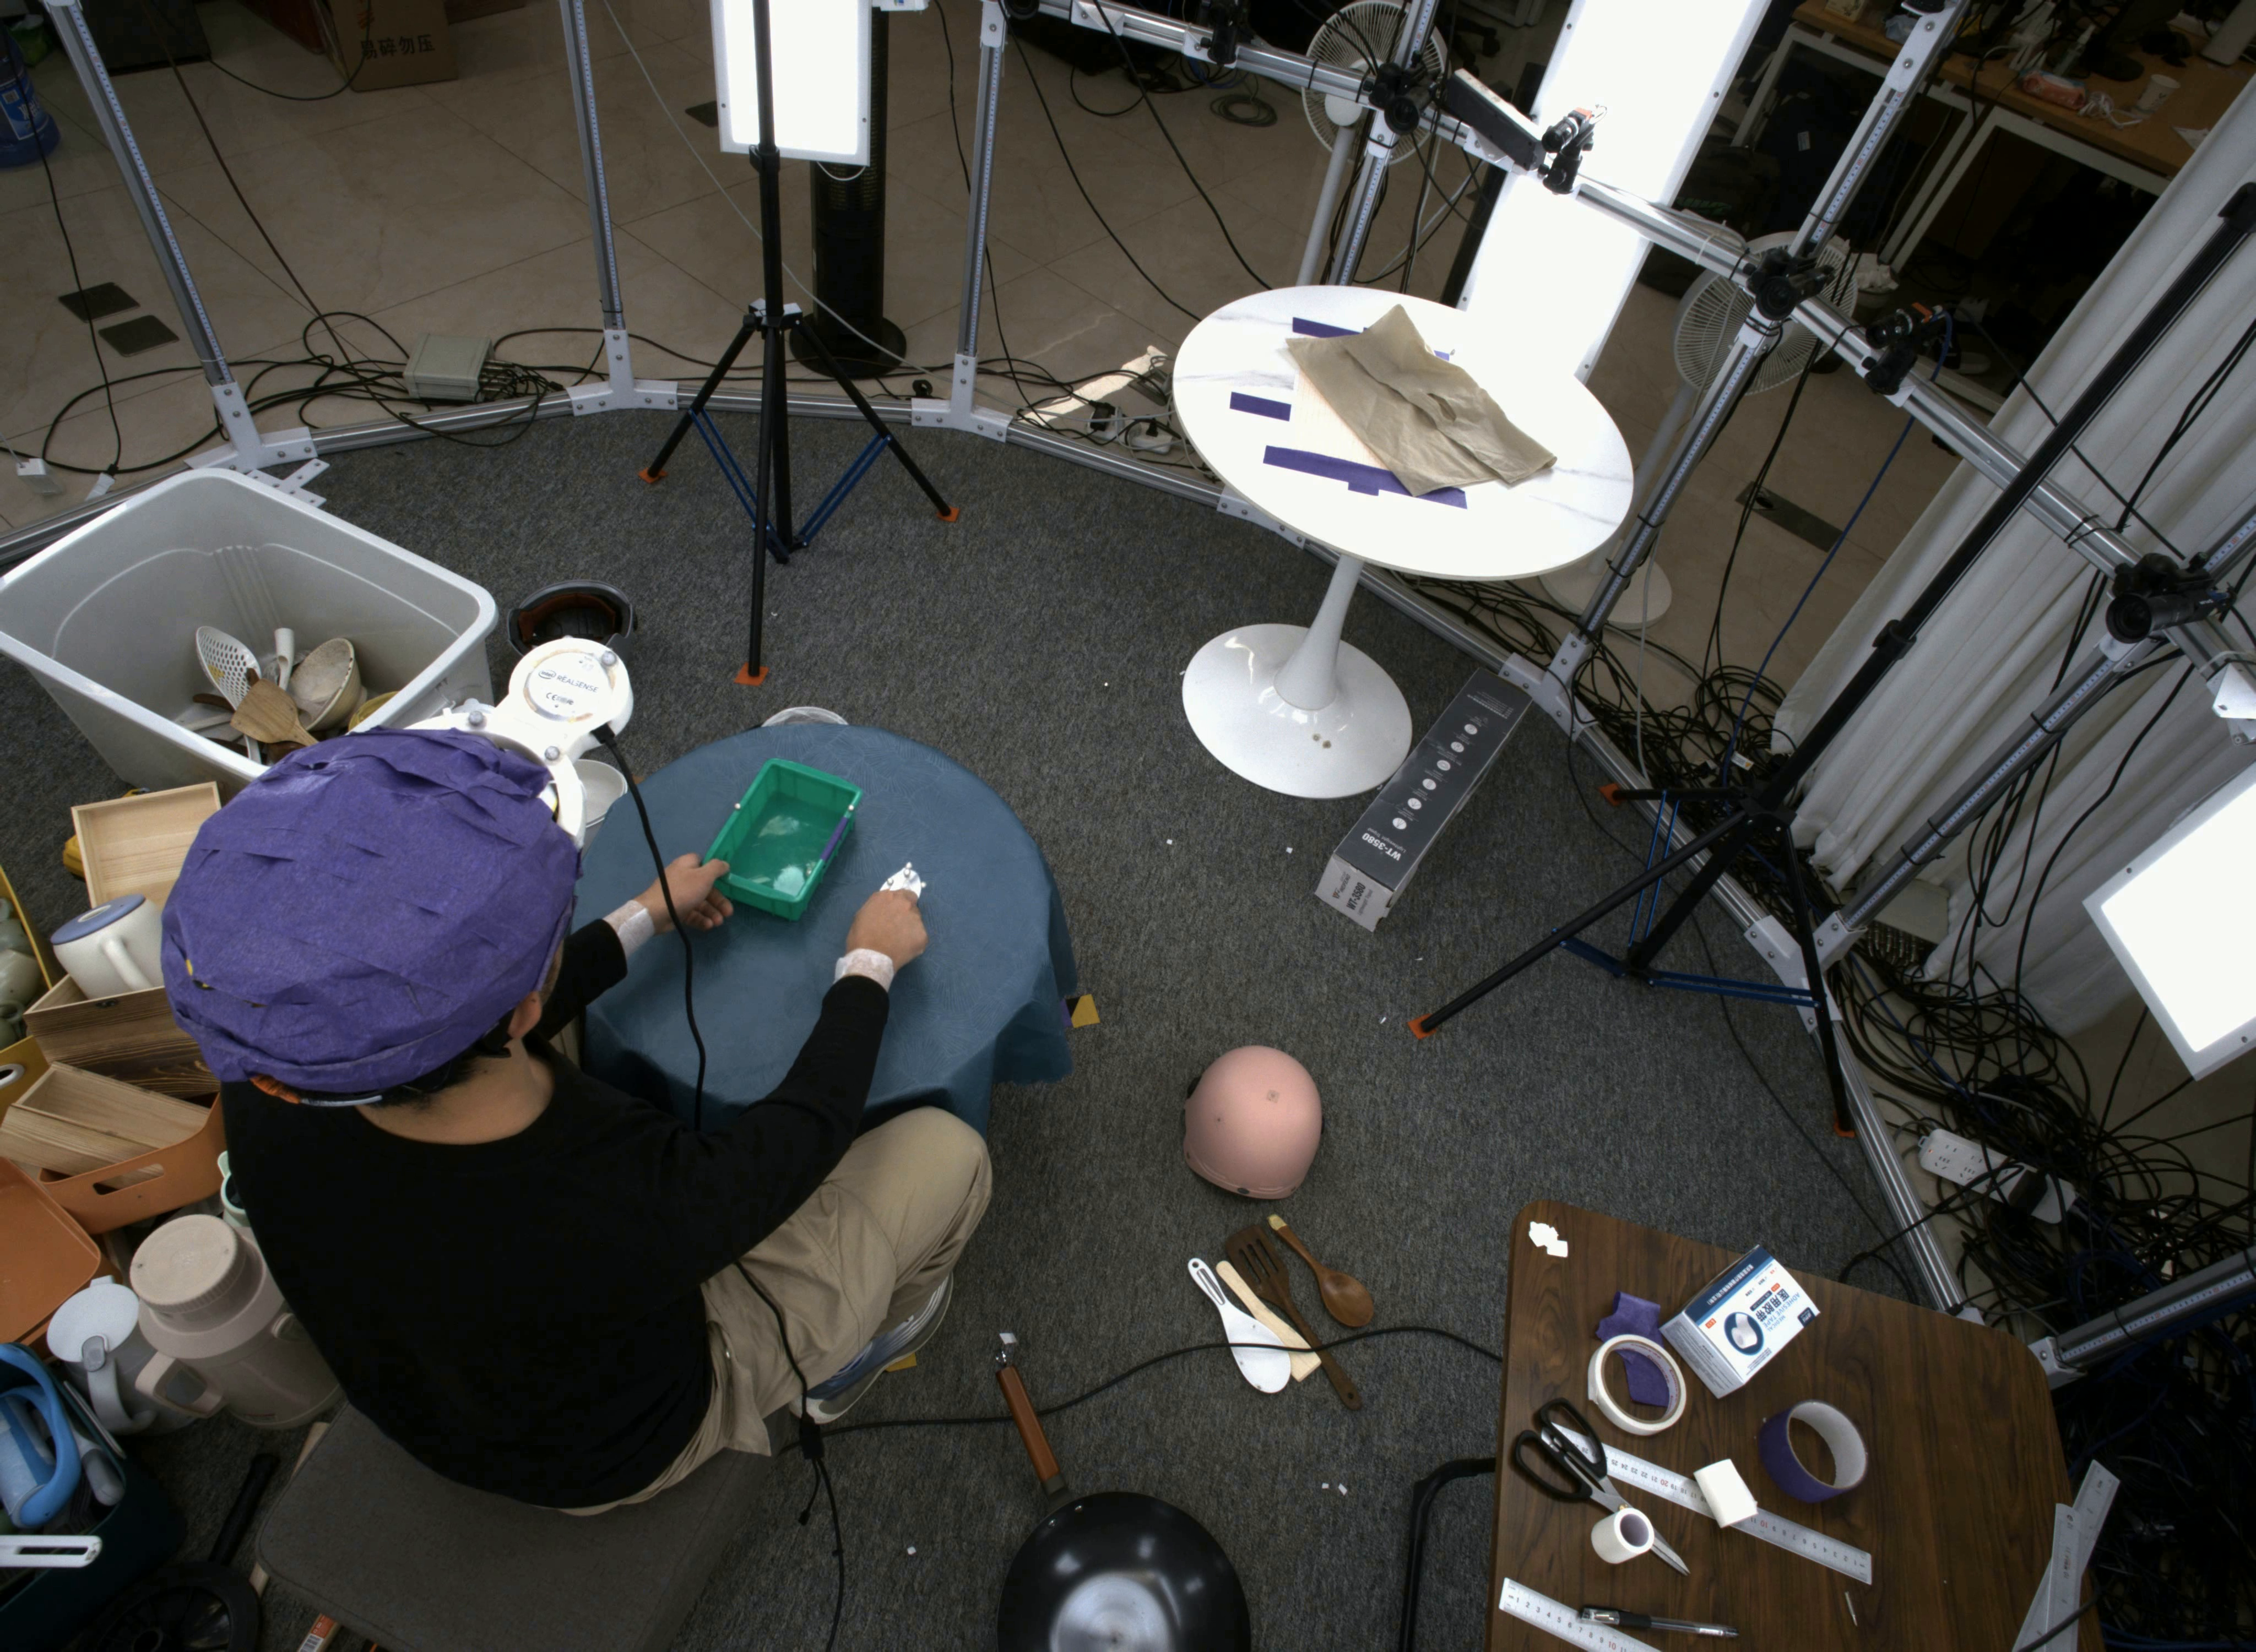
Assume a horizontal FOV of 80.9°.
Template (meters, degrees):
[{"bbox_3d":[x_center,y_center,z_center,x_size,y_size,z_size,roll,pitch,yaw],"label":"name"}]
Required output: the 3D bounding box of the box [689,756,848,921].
[{"bbox_3d":[-0.457,0.017,1.657,0.138,0.066,0.208,19,50,-2],"label":"box"}]

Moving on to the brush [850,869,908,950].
[{"bbox_3d":[-0.308,0.096,1.624,0.050,0.073,0.098,26,49,0],"label":"brush"}]
